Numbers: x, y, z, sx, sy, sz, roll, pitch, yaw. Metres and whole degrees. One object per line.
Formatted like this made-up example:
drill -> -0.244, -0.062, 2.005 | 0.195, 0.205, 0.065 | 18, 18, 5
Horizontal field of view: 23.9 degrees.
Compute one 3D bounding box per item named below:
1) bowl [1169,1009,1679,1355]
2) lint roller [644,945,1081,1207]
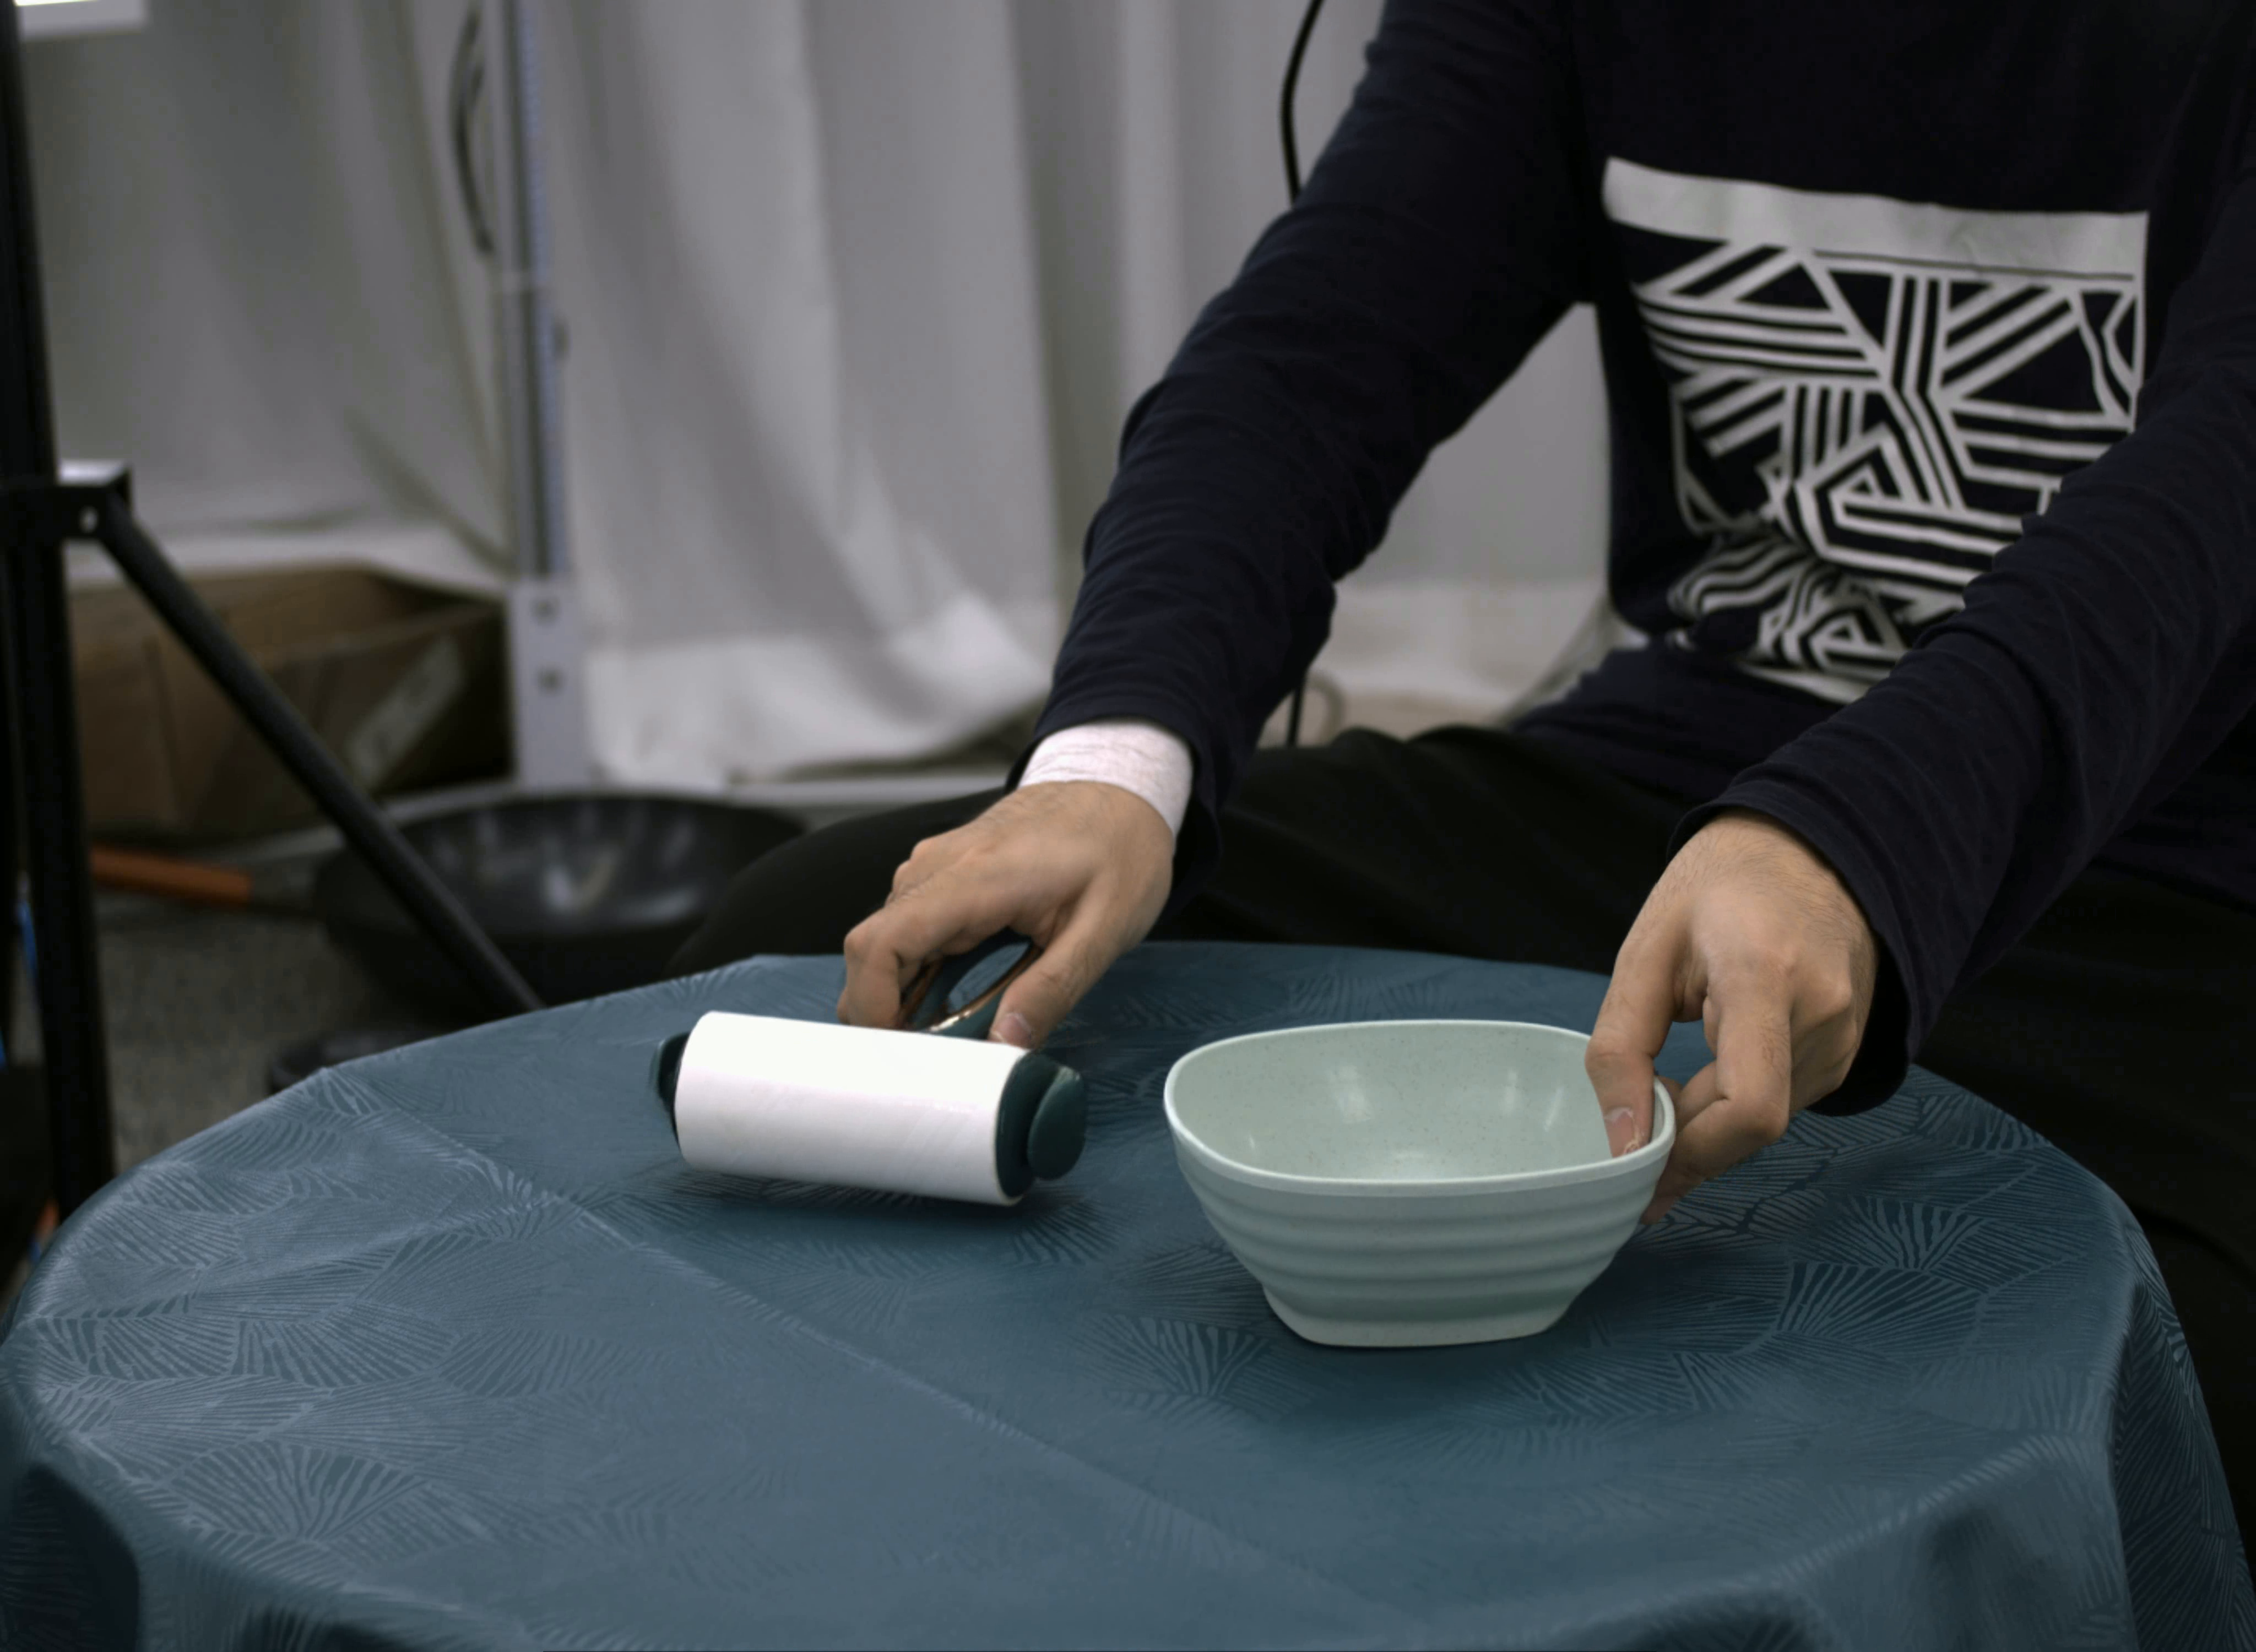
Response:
bowl -> 0.082, 0.102, 1.463 | 0.151, 0.058, 0.152 | -3, 18, 0
lint roller -> -0.059, 0.057, 1.619 | 0.136, 0.048, 0.179 | 5, 25, 18
